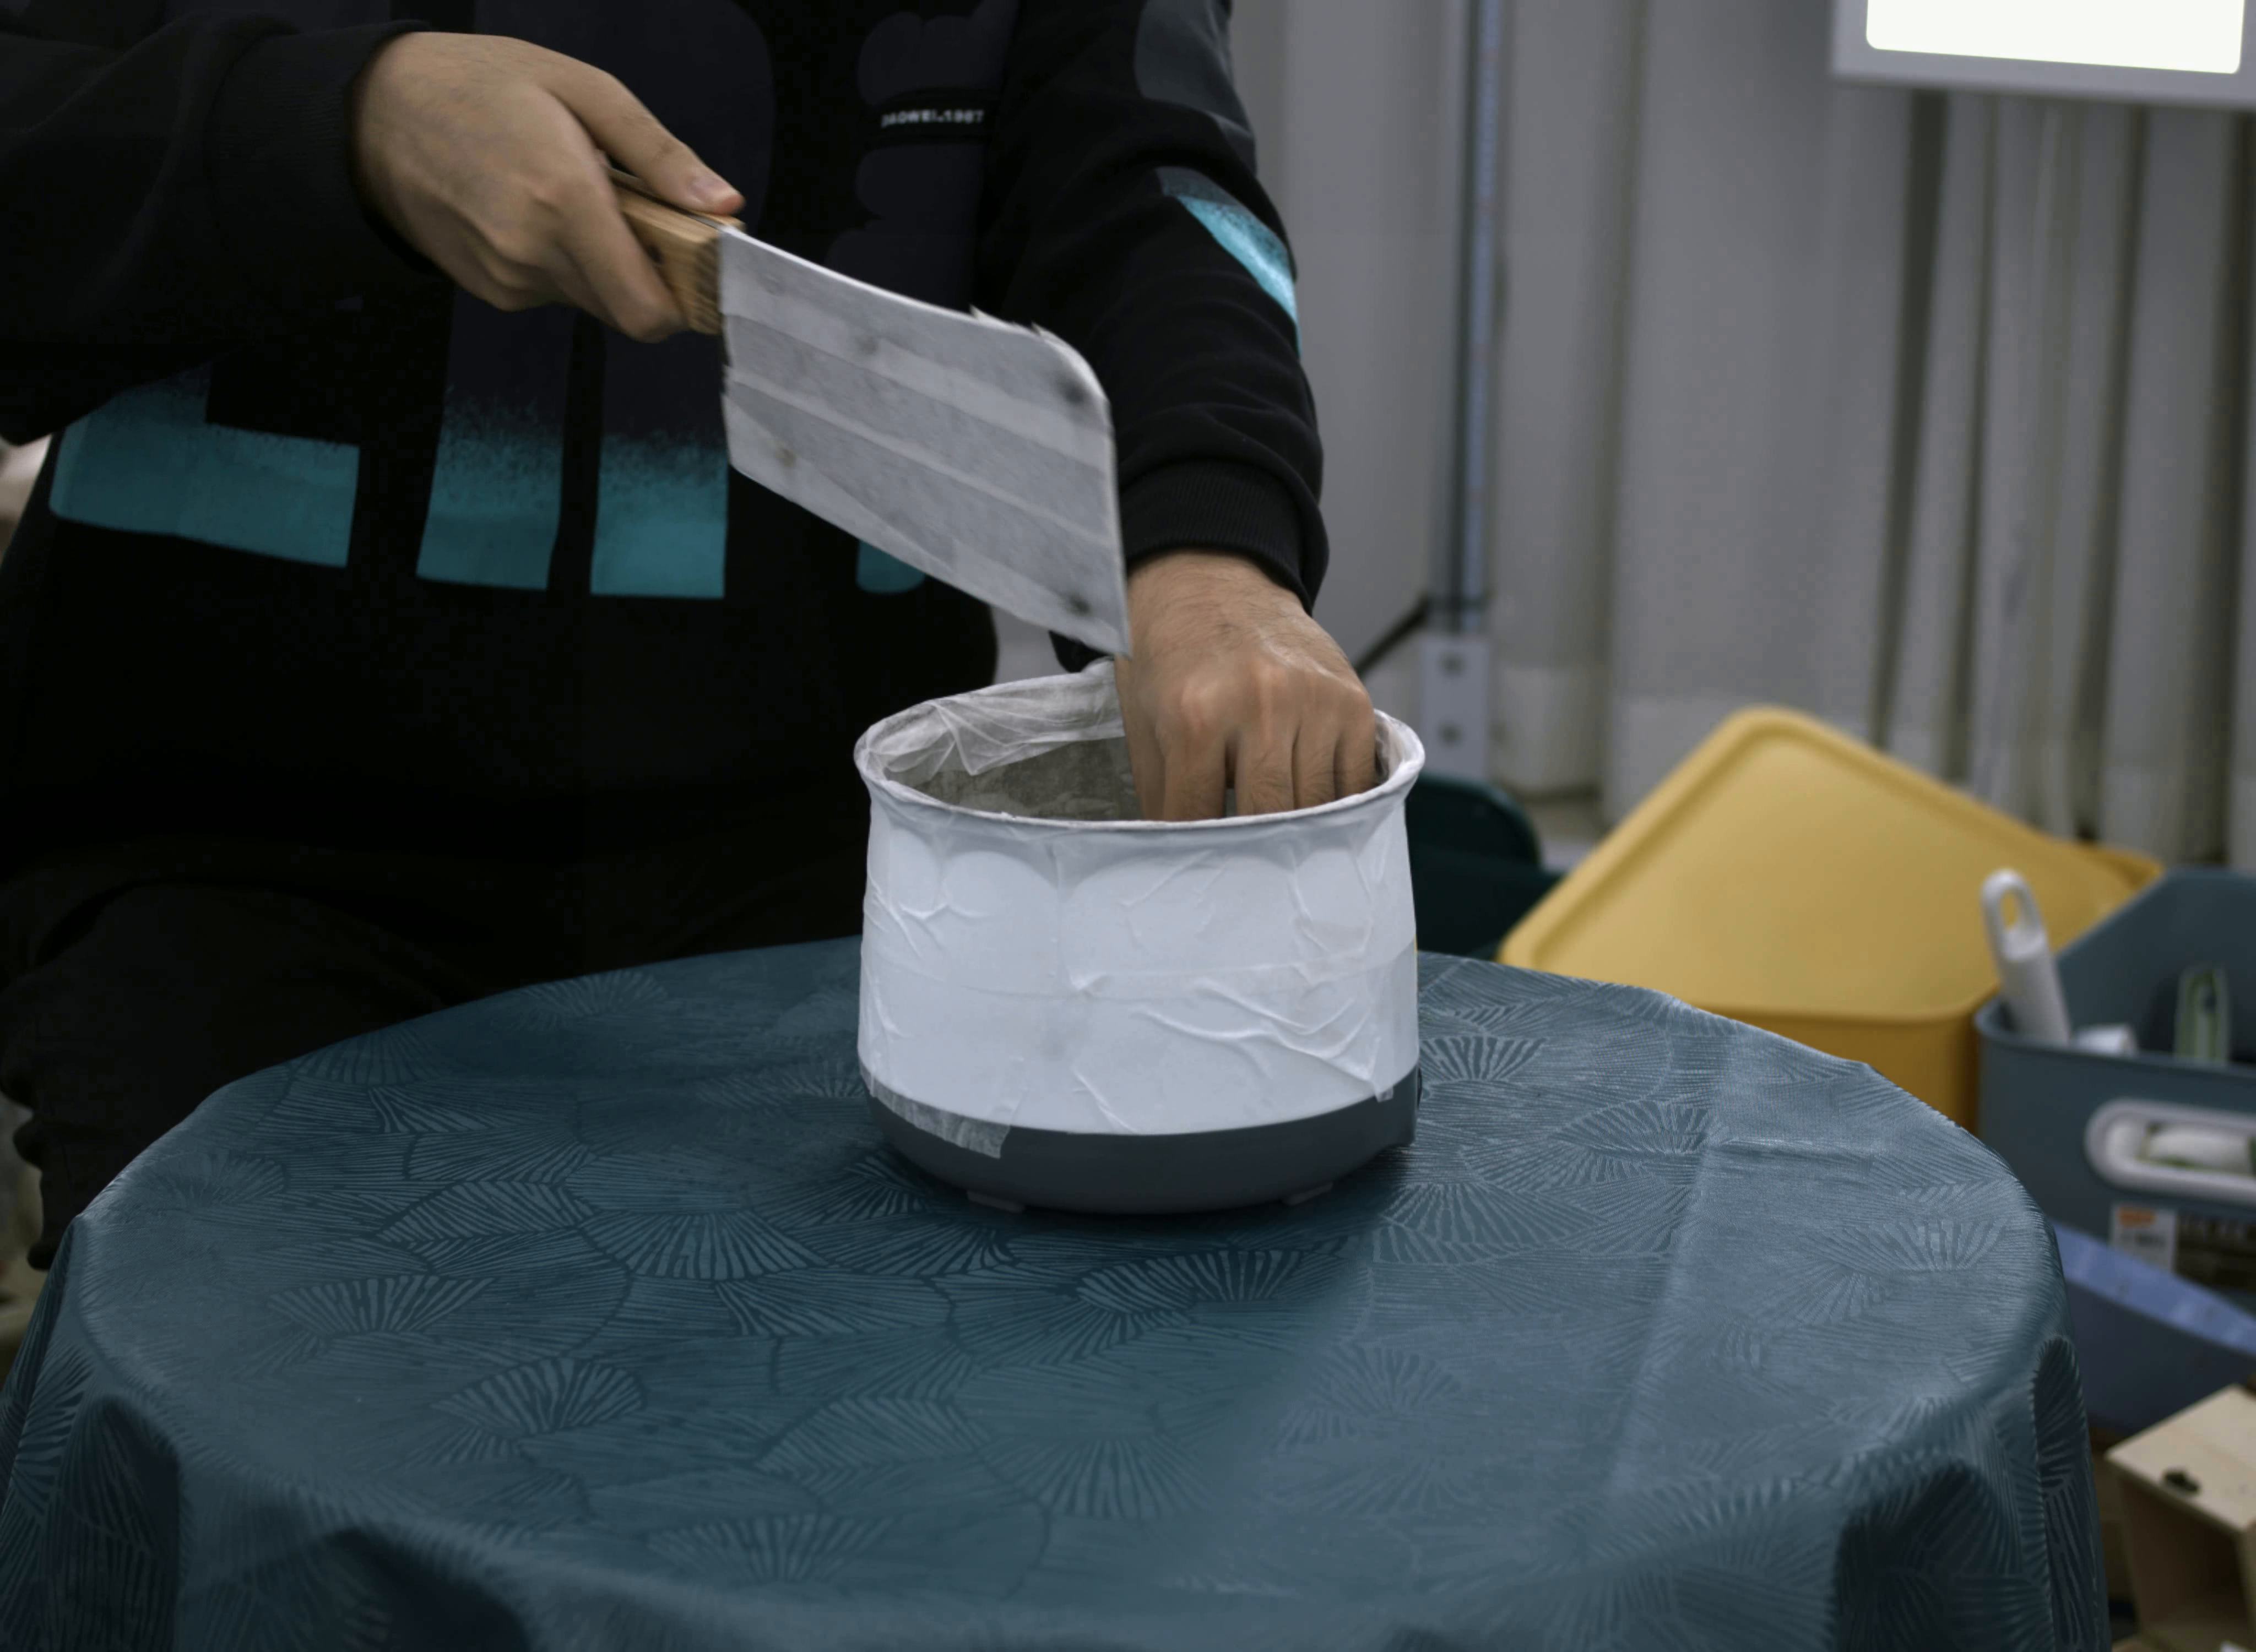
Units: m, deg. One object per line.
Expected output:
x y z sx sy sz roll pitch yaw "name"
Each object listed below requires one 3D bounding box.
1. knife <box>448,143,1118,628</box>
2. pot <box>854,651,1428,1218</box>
-0.109 -0.152 1.629 0.022 0.115 0.311 -27 42 -35 "knife"
0.000 0.029 1.664 0.178 0.138 0.232 -1 17 -7 "pot"
